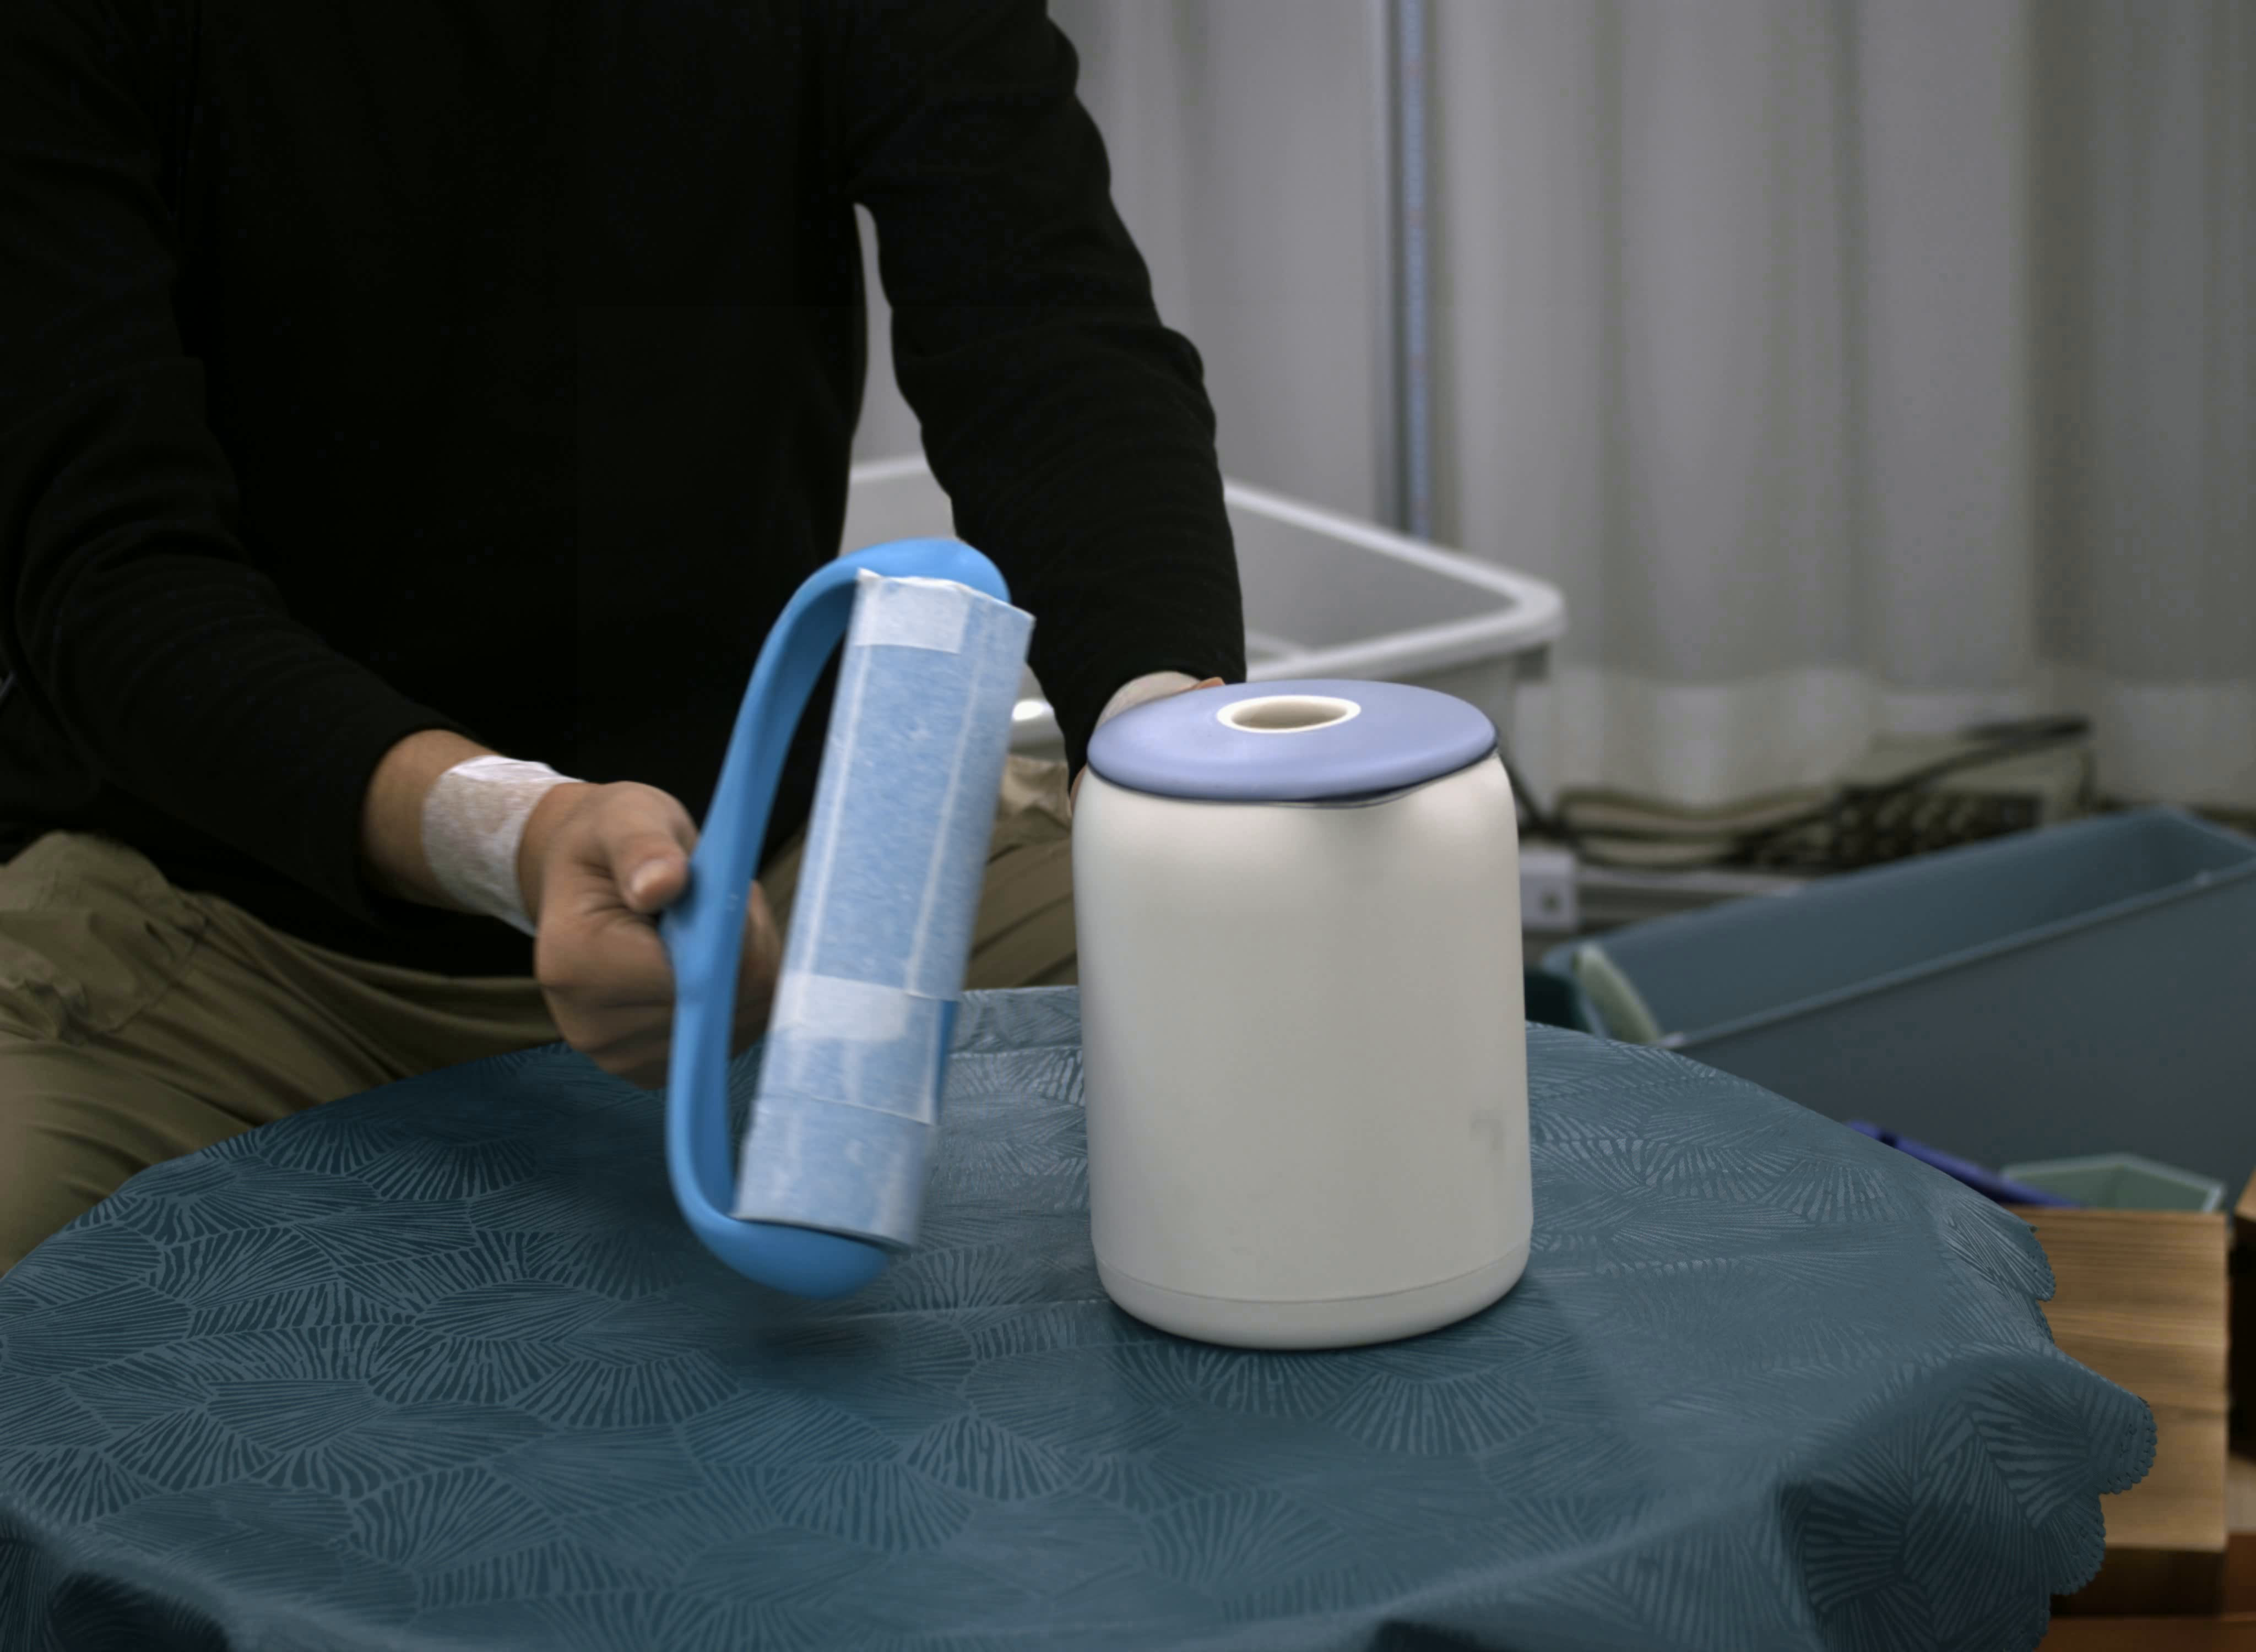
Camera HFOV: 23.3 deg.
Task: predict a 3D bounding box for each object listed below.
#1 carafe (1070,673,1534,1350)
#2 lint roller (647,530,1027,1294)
[{"bbox_3d":[0.043,0.048,1.625,0.131,0.182,0.192,-7,12,-17],"label":"carafe"},{"bbox_3d":[-0.109,0.029,1.651,0.067,0.231,0.180,17,-16,-34],"label":"lint roller"}]
